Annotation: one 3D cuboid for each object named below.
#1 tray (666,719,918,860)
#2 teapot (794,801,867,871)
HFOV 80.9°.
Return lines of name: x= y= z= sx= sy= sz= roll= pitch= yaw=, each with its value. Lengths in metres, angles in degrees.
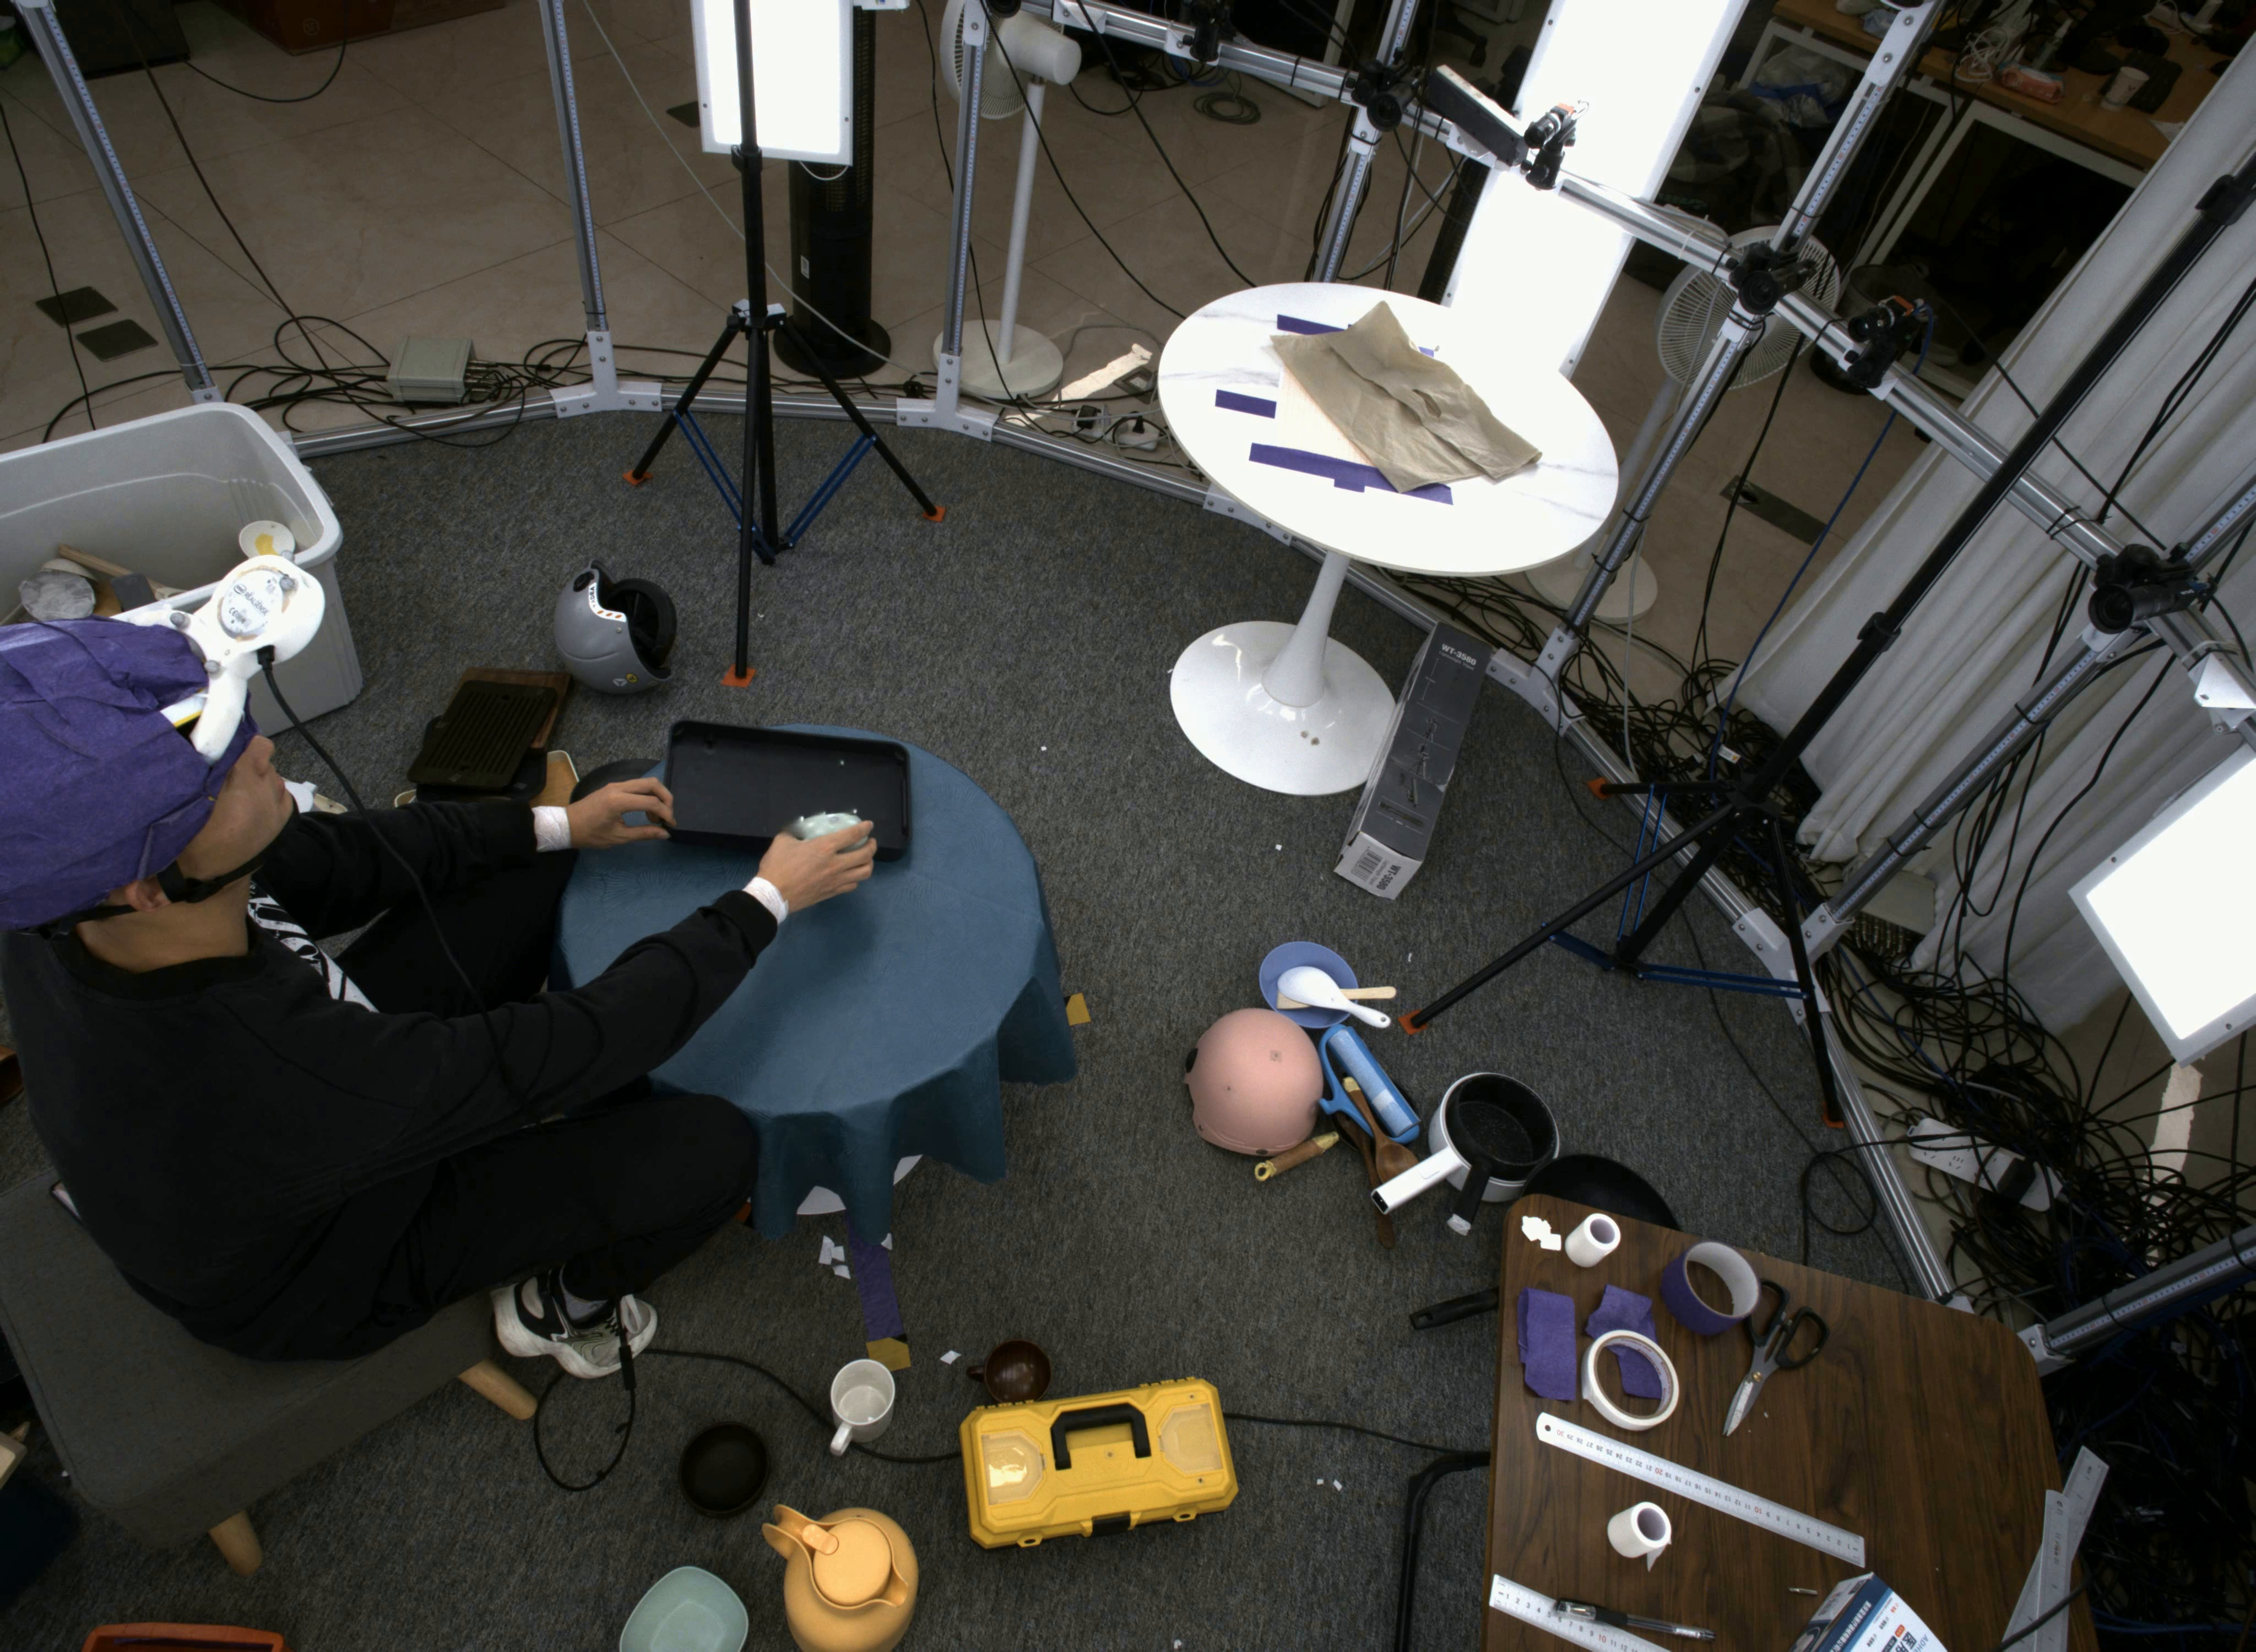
tray: x=-0.439 y=-0.048 z=1.703 sx=0.321 sy=0.037 sz=0.180 roll=5 pitch=52 yaw=-22
teapot: x=-0.366 y=0.014 z=1.595 sx=0.089 sy=0.142 sz=0.075 roll=-7 pitch=84 yaw=-19
